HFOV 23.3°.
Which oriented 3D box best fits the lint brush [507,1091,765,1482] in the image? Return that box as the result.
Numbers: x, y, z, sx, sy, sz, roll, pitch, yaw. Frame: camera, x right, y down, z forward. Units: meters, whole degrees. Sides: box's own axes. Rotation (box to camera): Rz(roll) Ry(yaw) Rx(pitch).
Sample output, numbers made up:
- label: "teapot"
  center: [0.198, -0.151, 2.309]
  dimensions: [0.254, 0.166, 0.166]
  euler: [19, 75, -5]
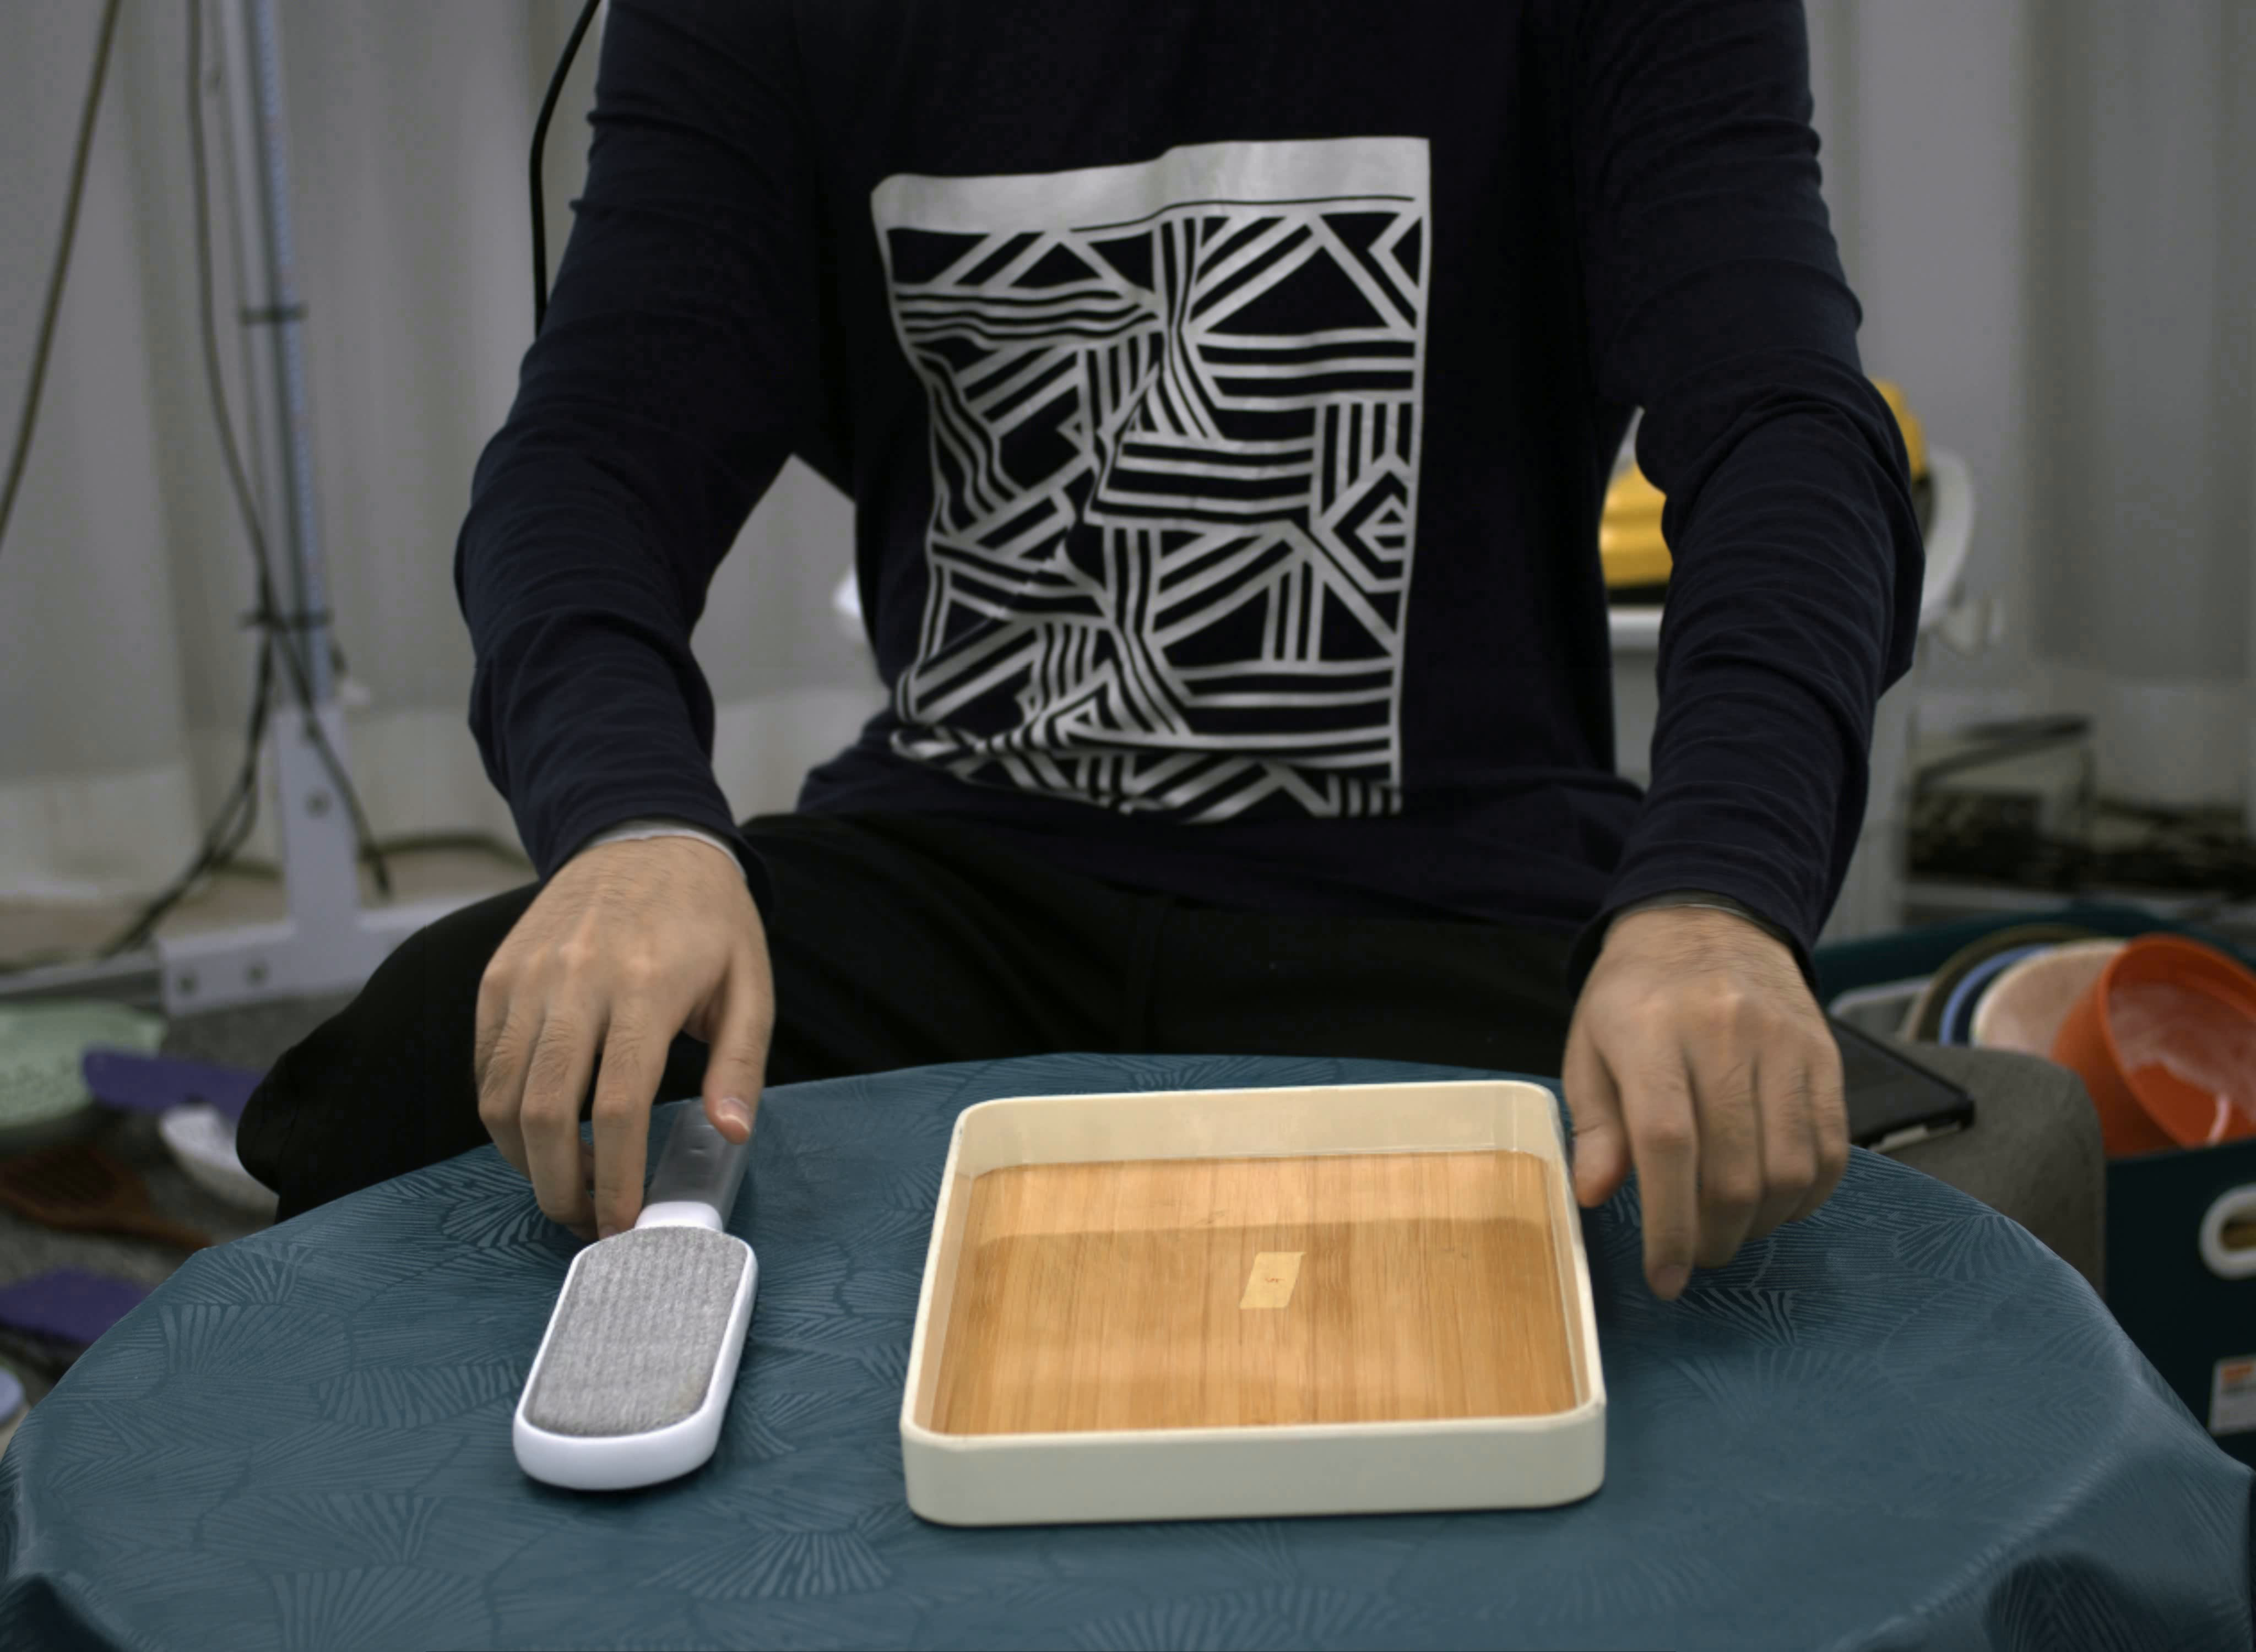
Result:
- label: "lint brush"
  center: [-0.137, 0.132, 1.625]
  dimensions: [0.060, 0.021, 0.311]
  euler: [-8, 14, 4]

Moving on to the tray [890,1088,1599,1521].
- label: "tray"
  center: [0.035, 0.134, 1.587]
  dimensions: [0.191, 0.027, 0.302]
  euler: [-1, 14, 3]
